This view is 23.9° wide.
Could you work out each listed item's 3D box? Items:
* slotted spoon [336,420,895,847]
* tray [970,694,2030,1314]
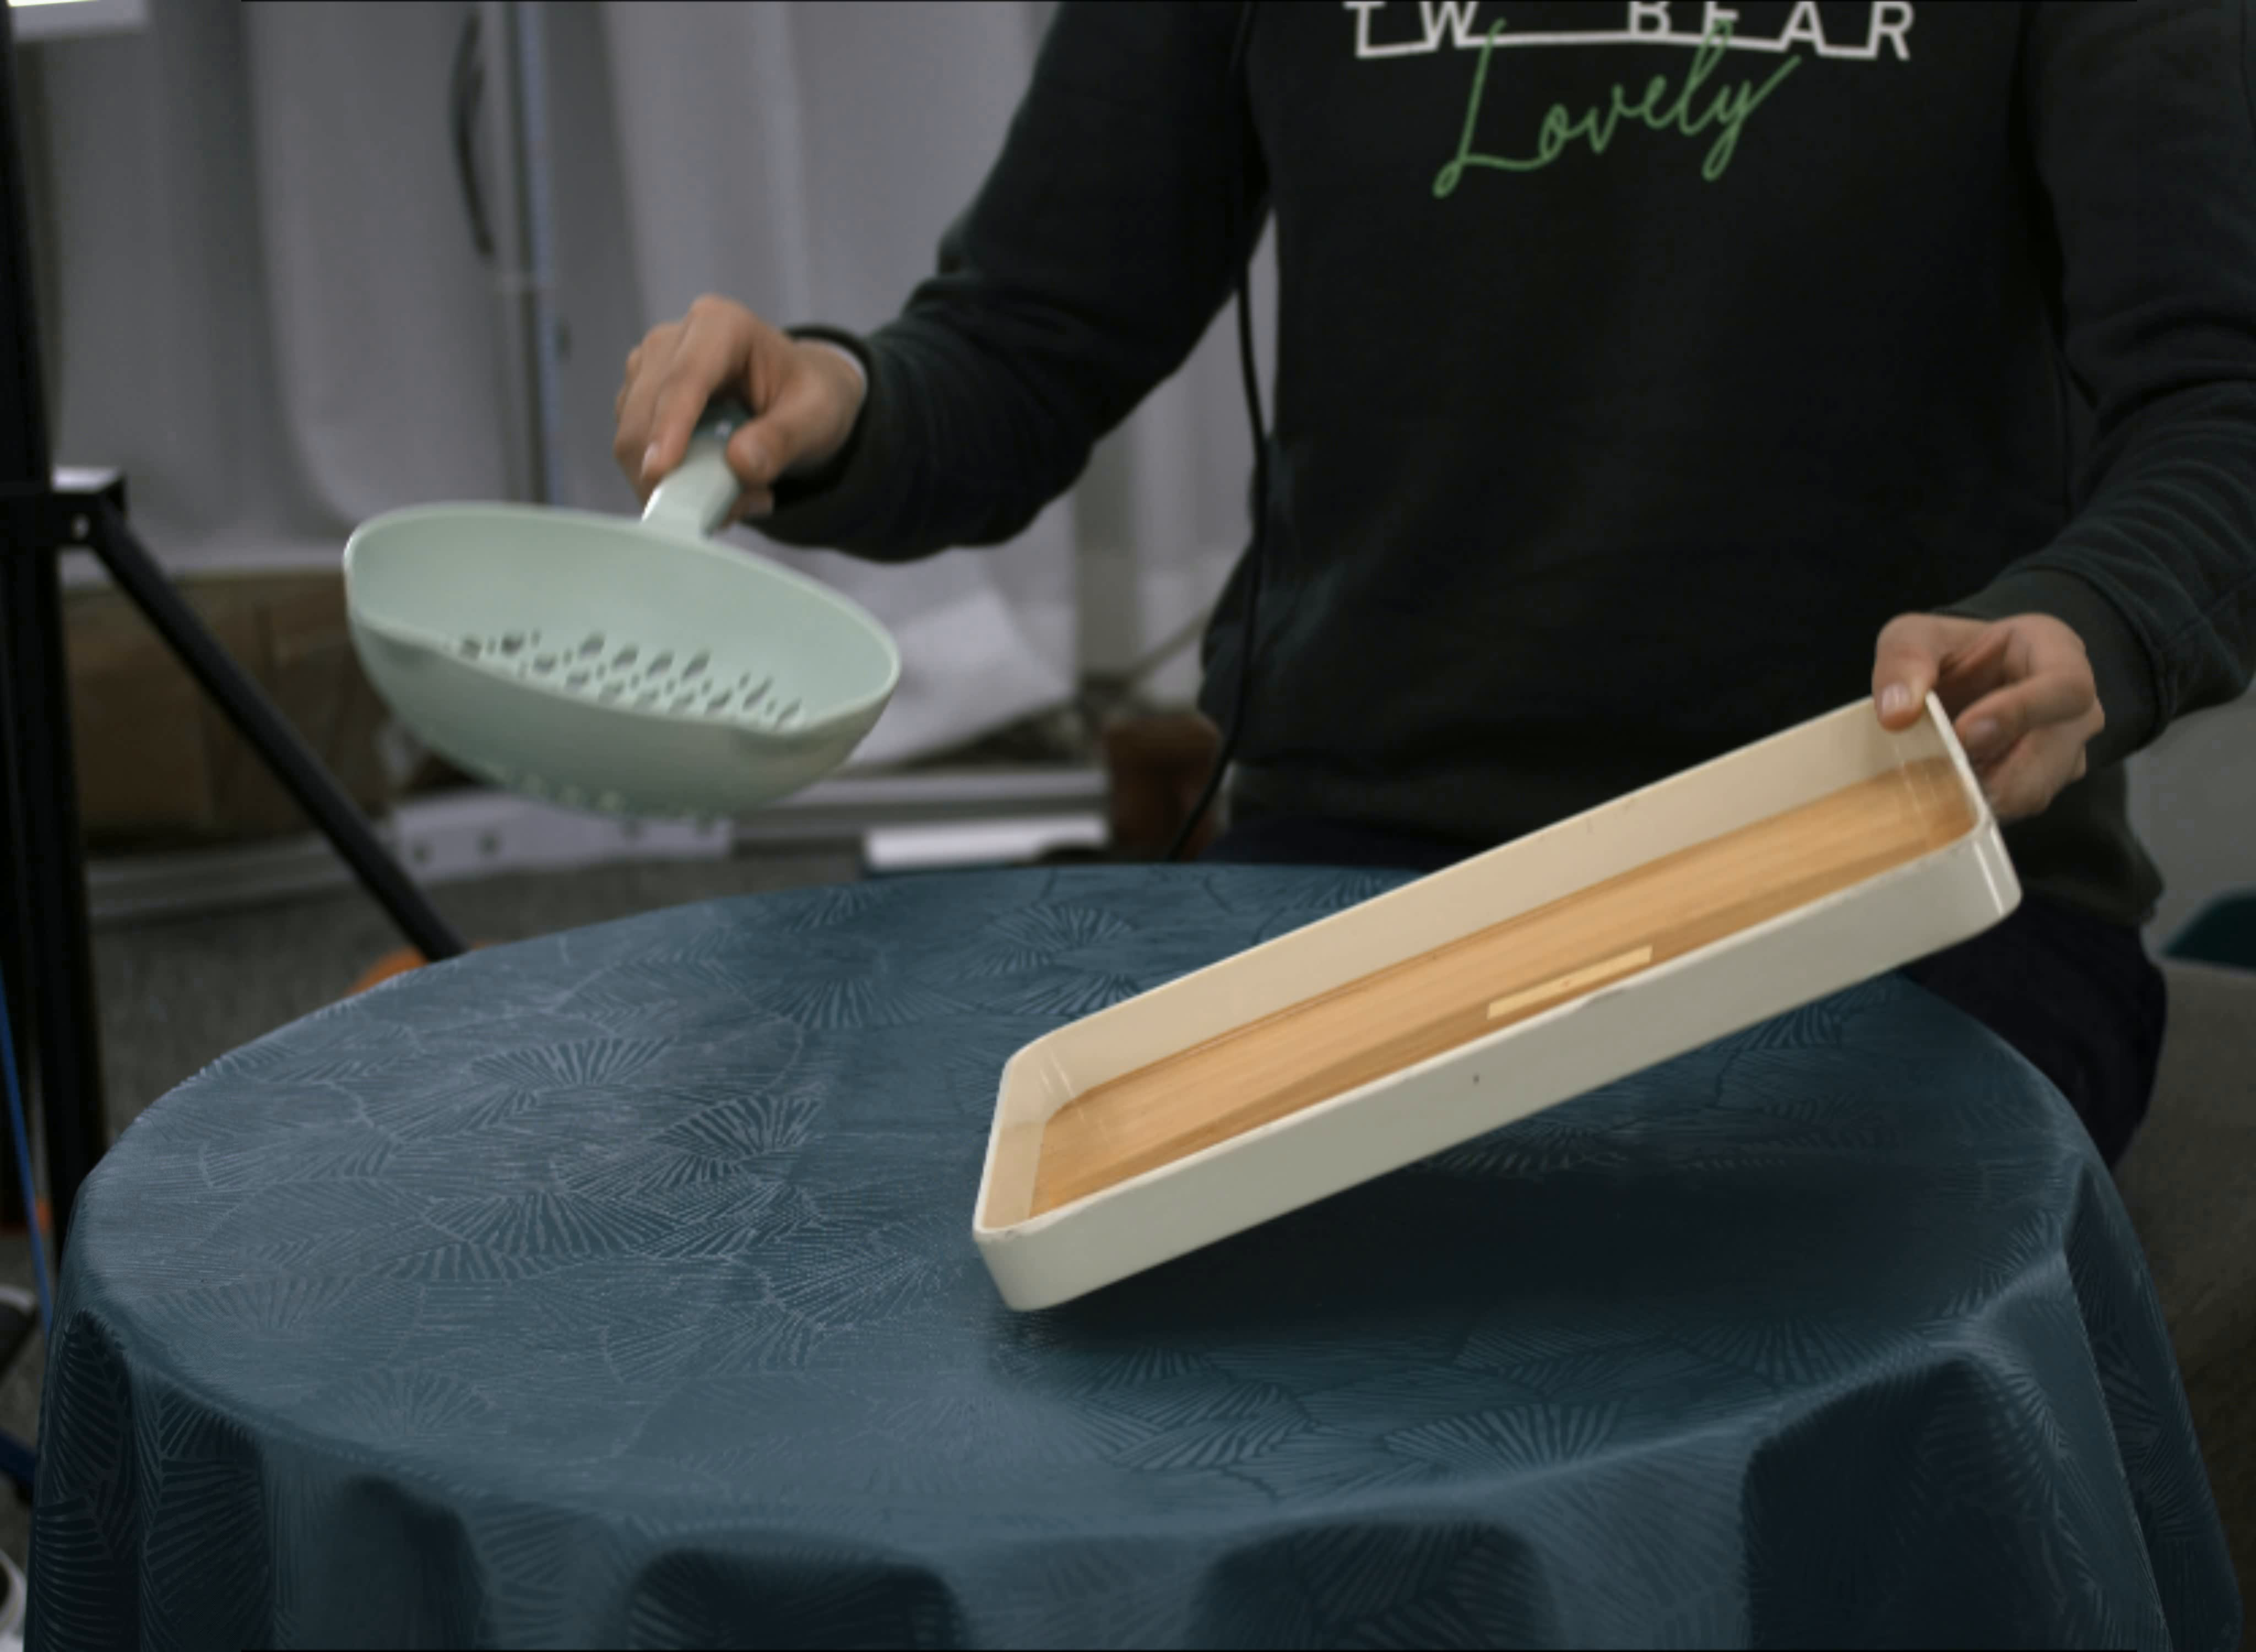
[{"bbox_3d":[-0.146,-0.078,1.681,0.169,0.075,0.359,14,27,1],"label":"slotted spoon"},{"bbox_3d":[0.102,0.048,1.499,0.301,0.027,0.192,-22,13,9],"label":"tray"}]
